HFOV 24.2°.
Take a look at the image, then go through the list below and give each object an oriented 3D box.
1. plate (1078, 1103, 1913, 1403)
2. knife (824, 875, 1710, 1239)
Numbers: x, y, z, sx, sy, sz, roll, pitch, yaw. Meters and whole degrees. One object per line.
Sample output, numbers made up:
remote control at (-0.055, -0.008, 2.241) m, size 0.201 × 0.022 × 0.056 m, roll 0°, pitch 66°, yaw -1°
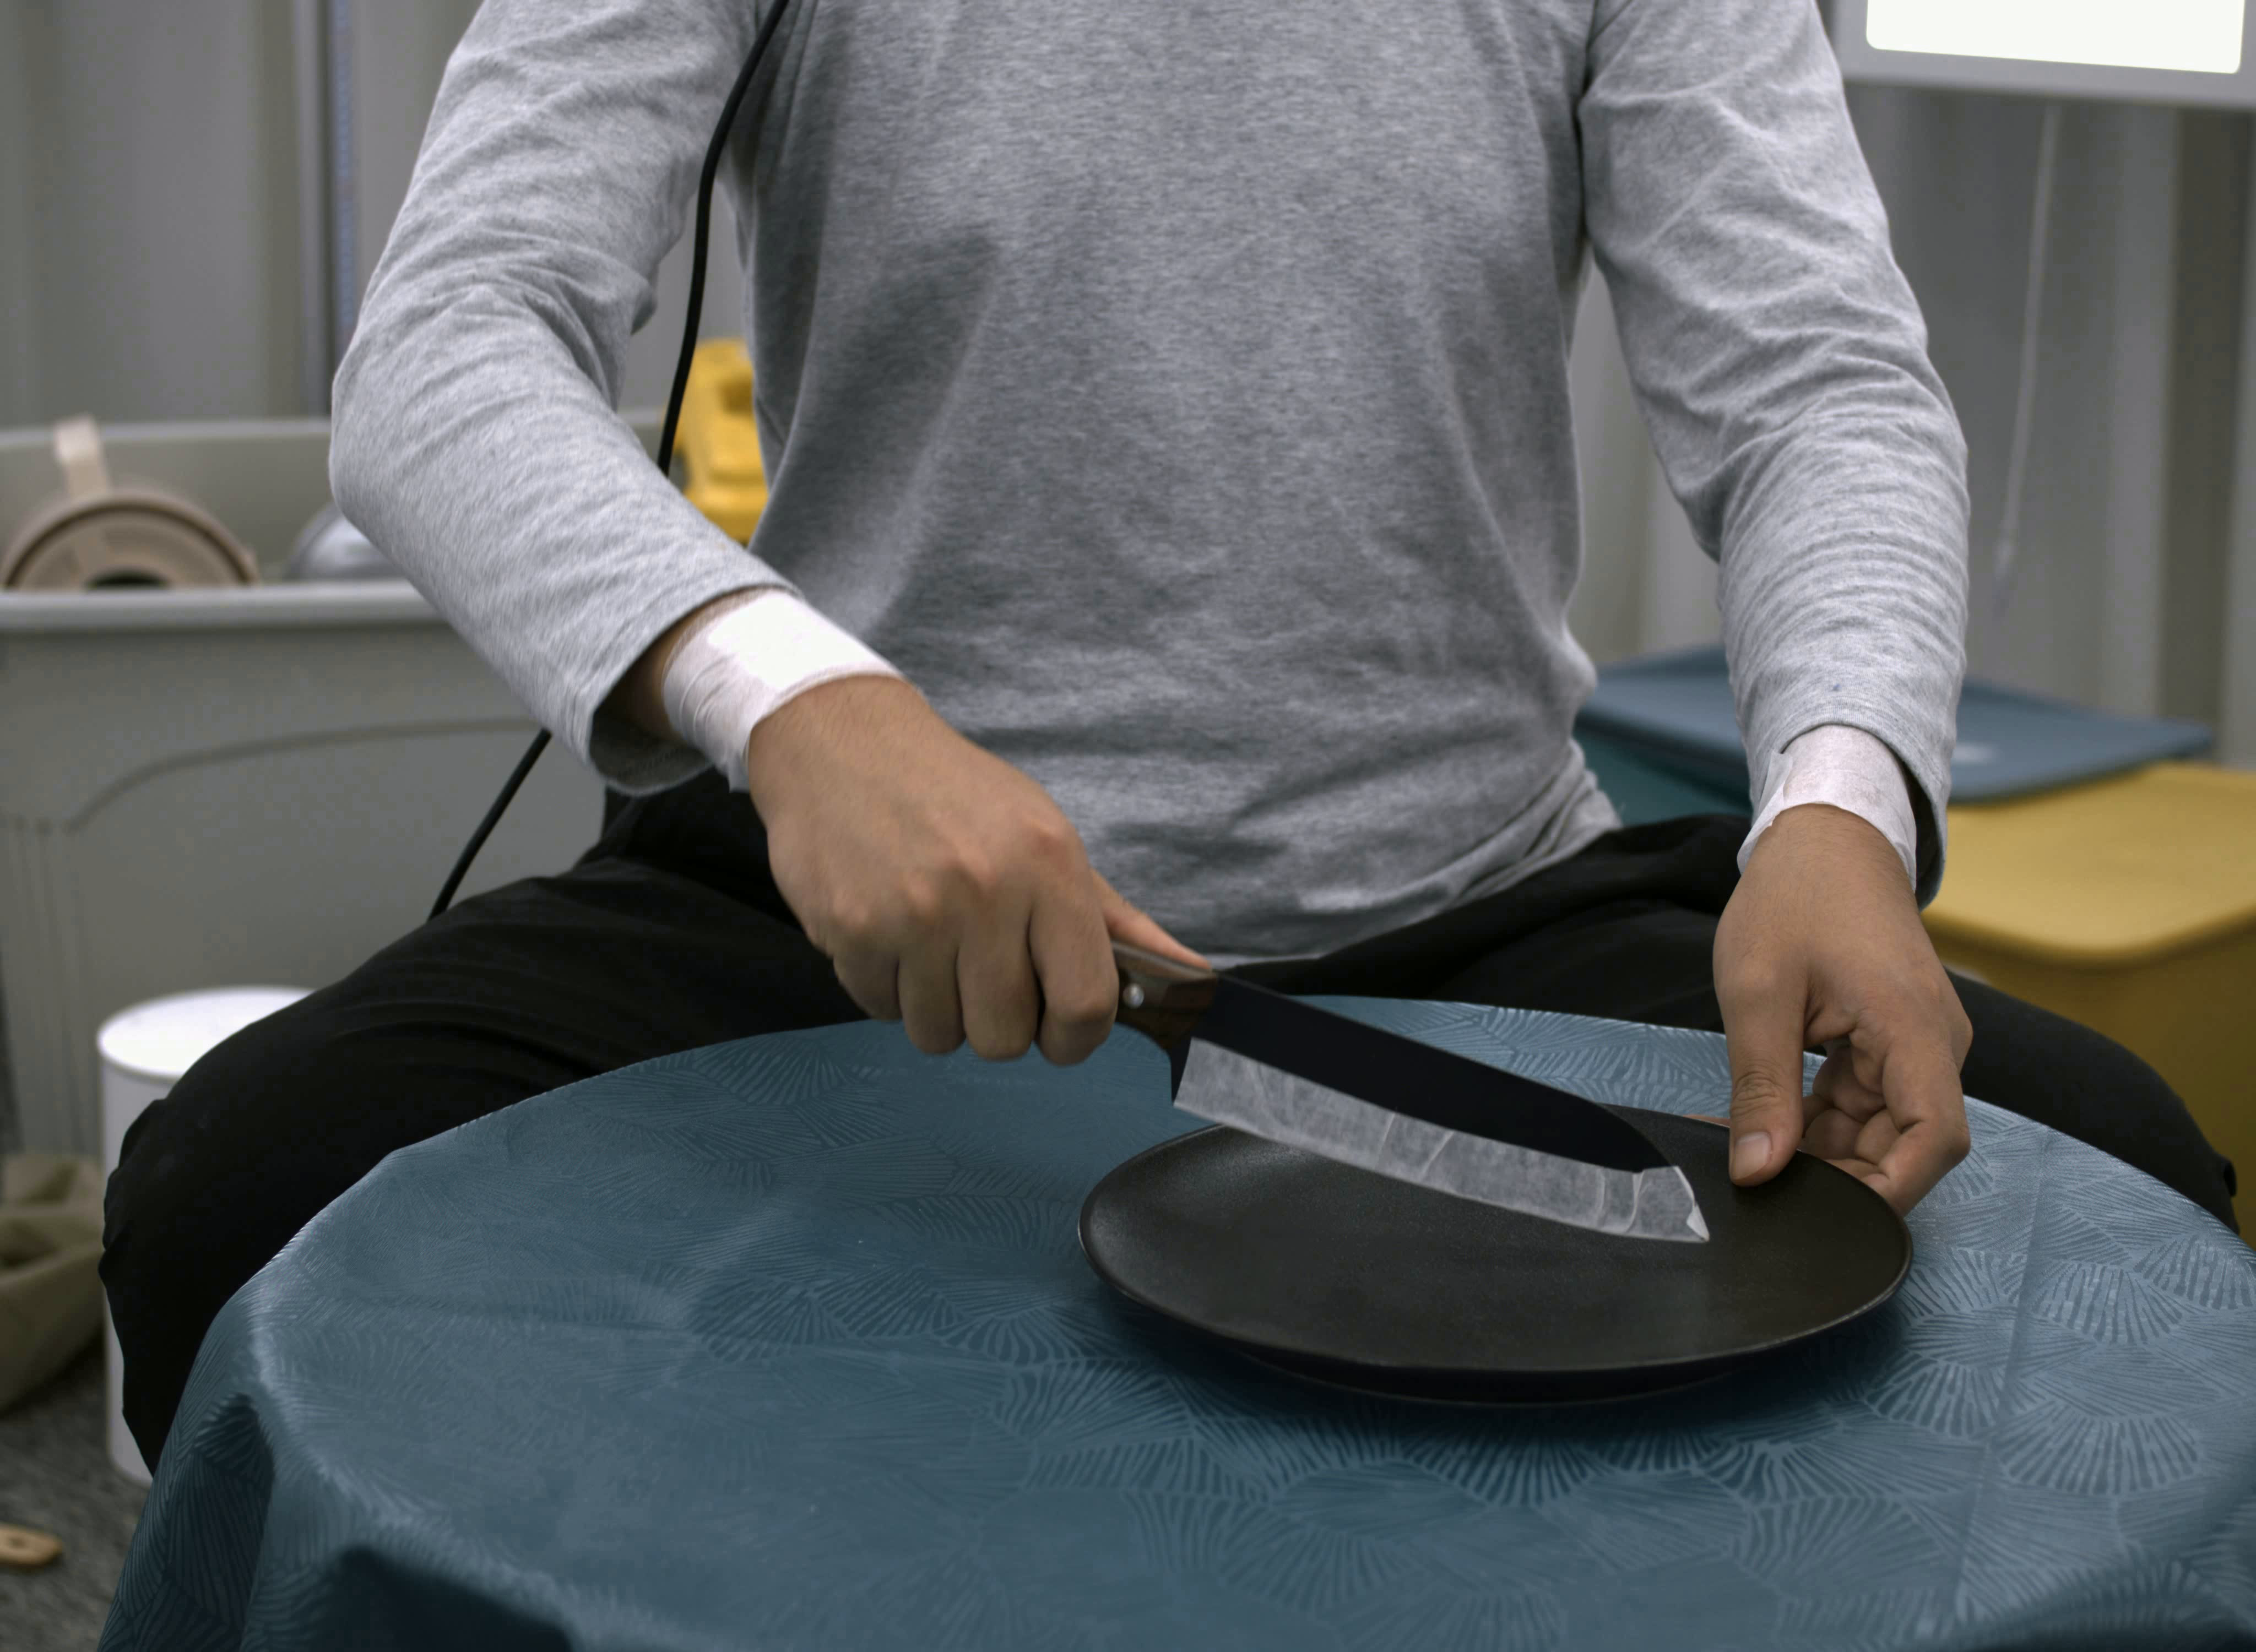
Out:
plate at (0.106, 0.126, 1.538) m, size 0.243 × 0.023 × 0.243 m, roll 0°, pitch 15°, yaw 0°
knife at (0.039, 0.069, 1.573) m, size 0.287 × 0.050 × 0.020 m, roll 20°, pitch 18°, yaw 12°
